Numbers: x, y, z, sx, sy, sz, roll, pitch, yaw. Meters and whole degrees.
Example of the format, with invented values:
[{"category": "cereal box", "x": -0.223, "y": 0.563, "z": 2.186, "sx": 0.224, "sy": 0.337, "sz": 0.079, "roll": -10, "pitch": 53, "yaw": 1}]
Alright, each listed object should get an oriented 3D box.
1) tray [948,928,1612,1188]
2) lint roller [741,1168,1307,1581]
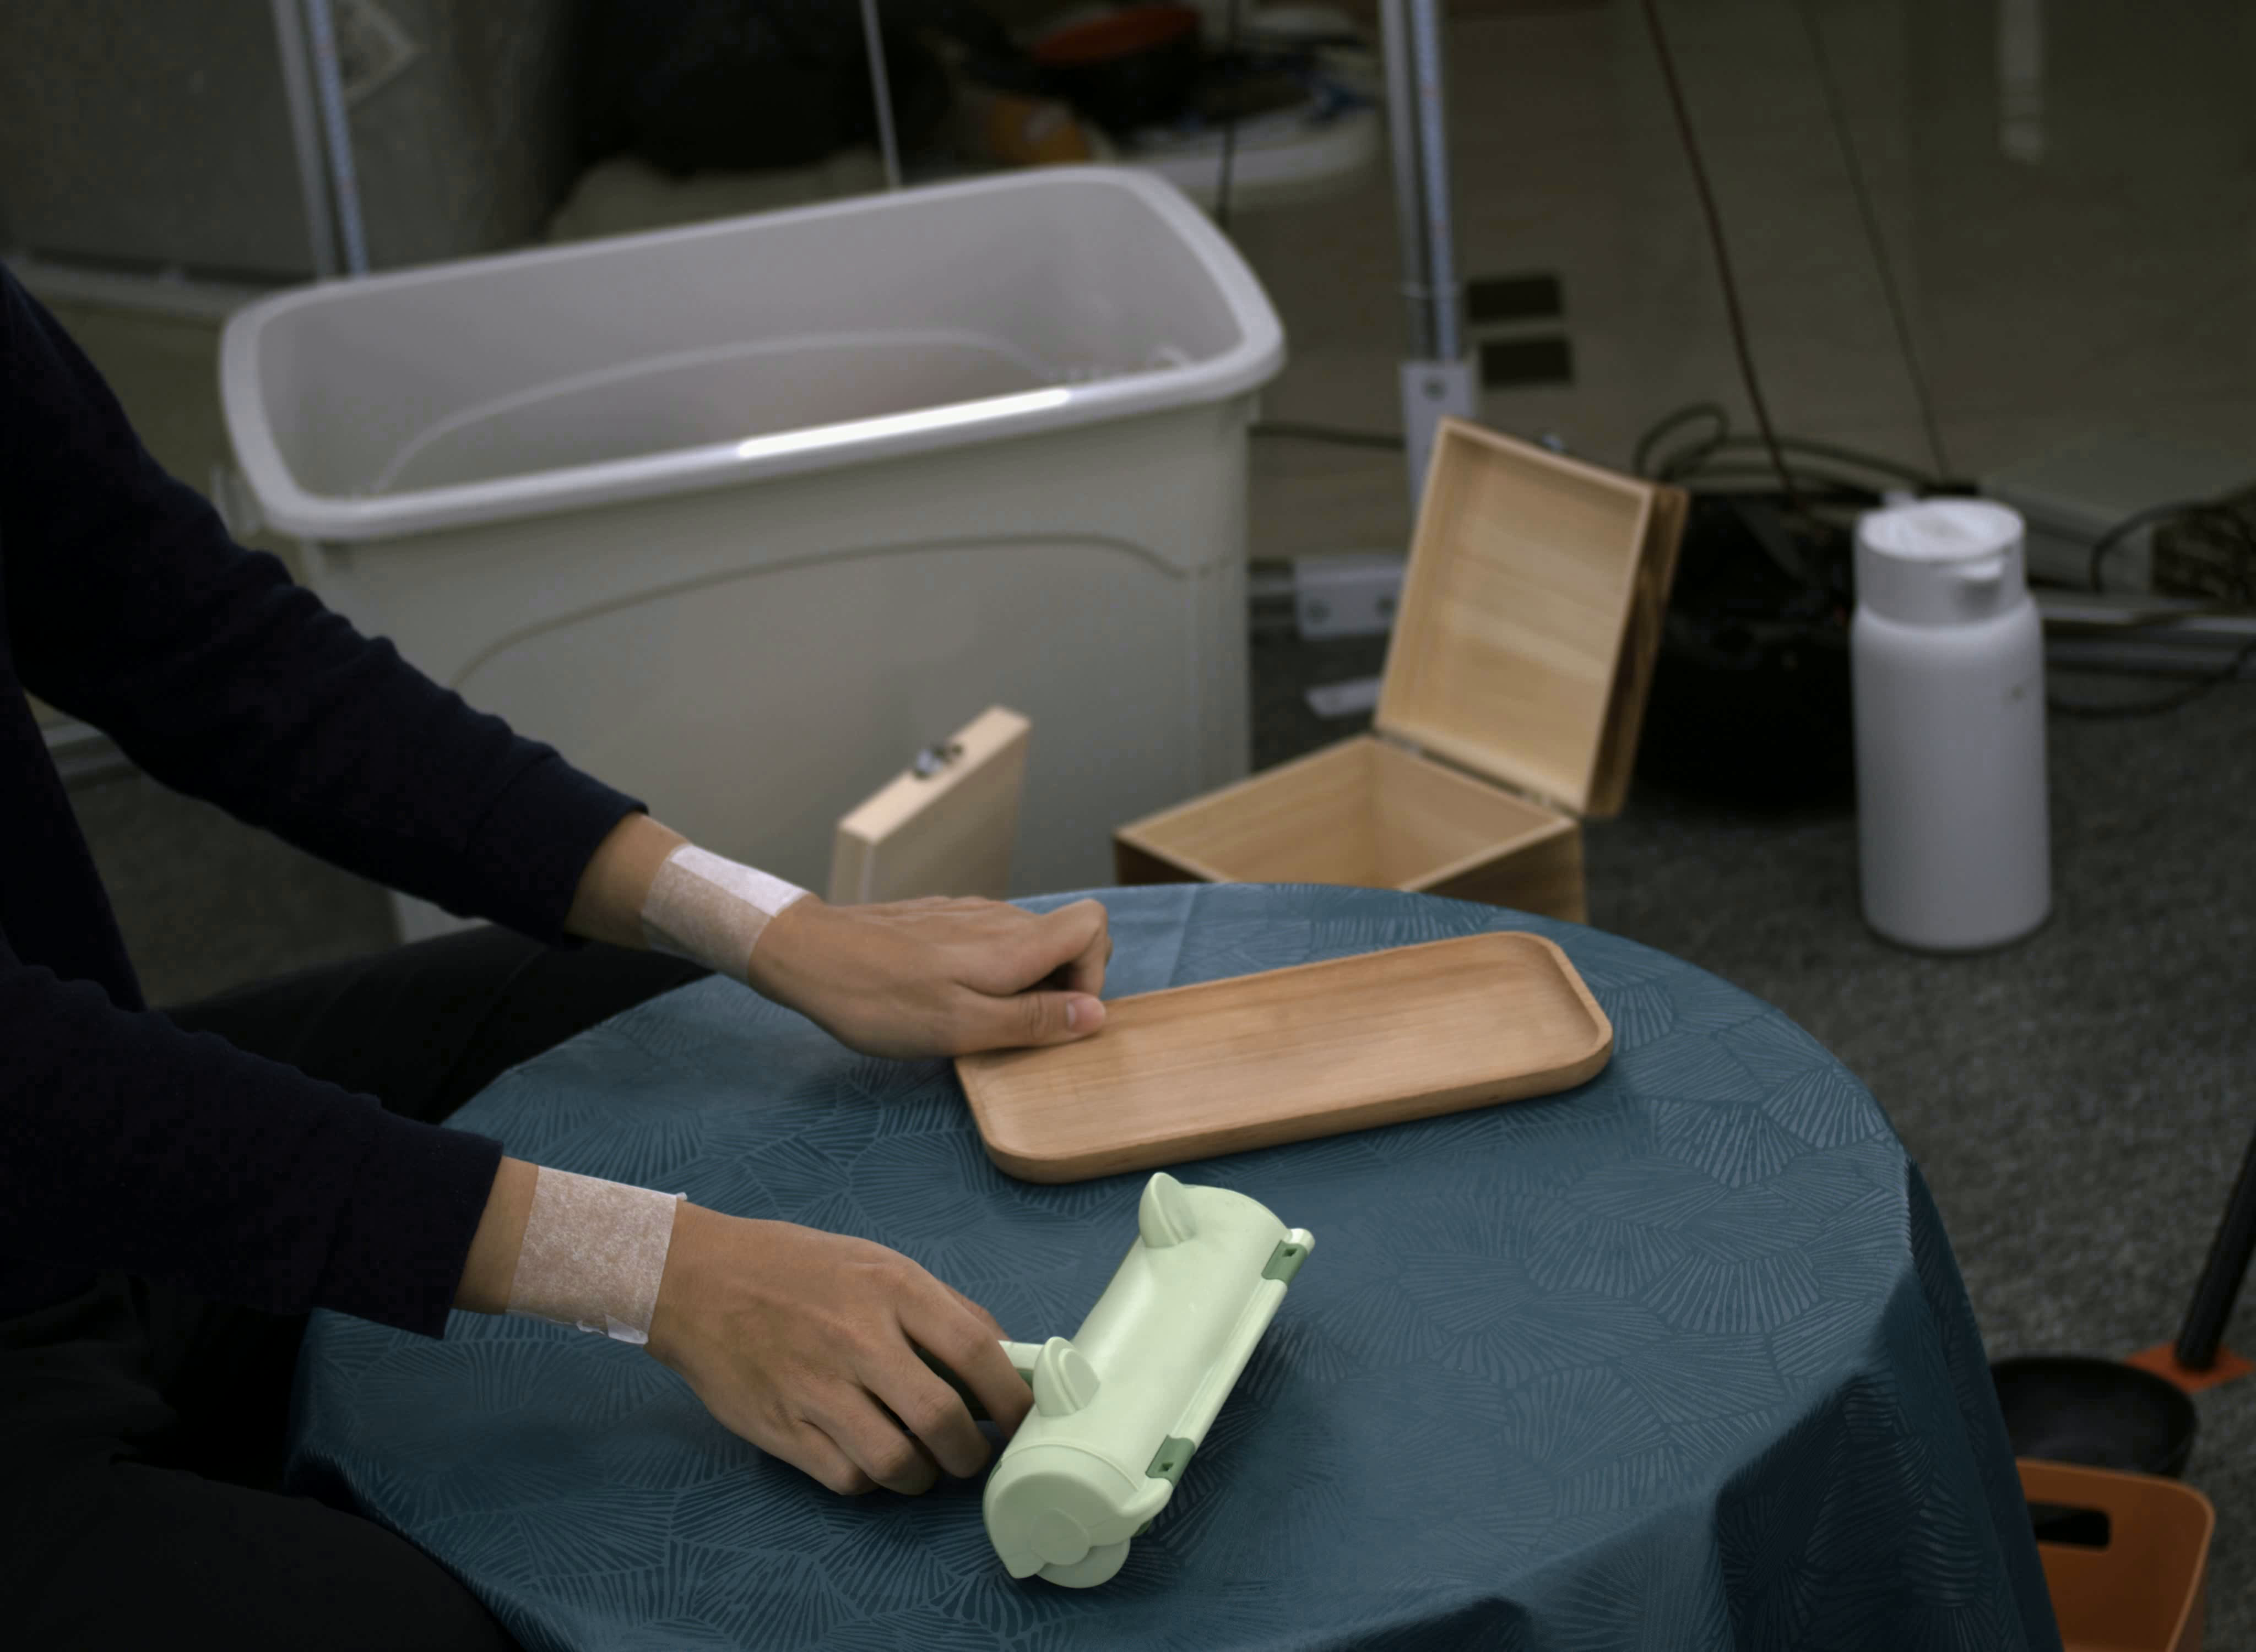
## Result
[{"category": "tray", "x": 0.059, "y": 0.090, "z": 2.217, "sx": 0.250, "sy": 0.023, "sz": 0.129, "roll": -11, "pitch": 23, "yaw": -7}, {"category": "lint roller", "x": -0.049, "y": 0.177, "z": 1.973, "sx": 0.183, "sy": 0.083, "sz": 0.196, "roll": 8, "pitch": 27, "yaw": 15}]
